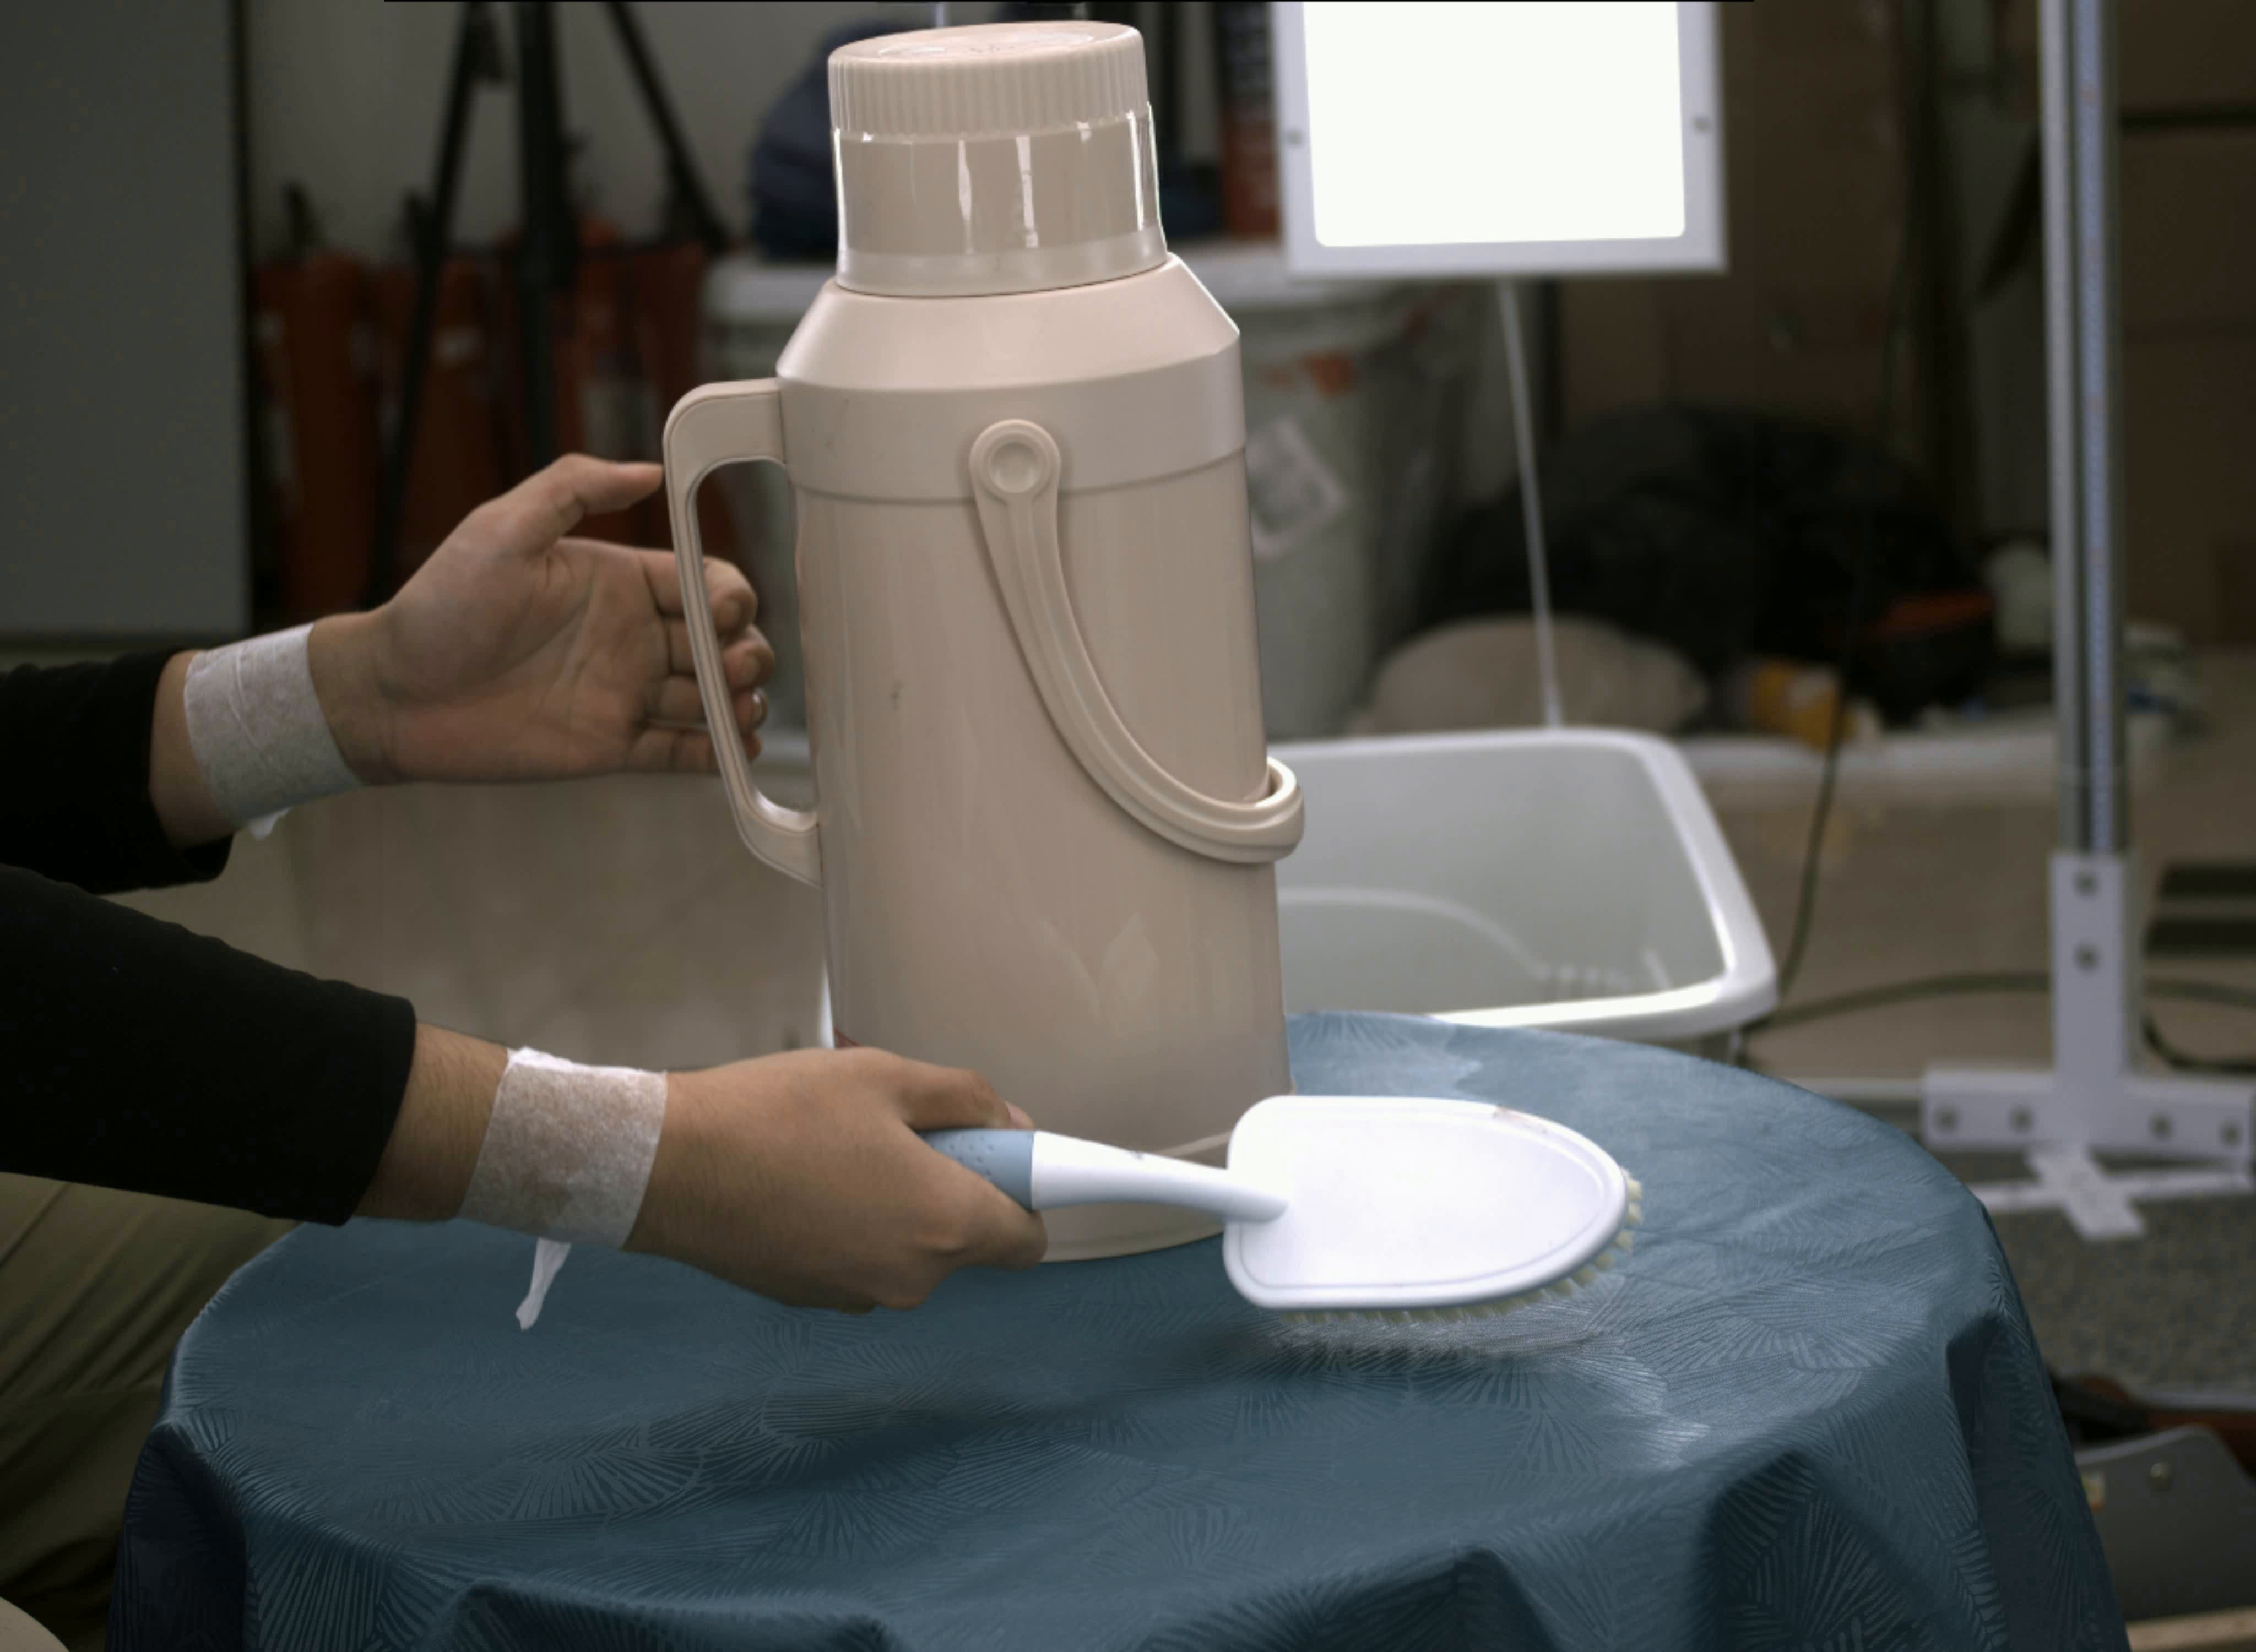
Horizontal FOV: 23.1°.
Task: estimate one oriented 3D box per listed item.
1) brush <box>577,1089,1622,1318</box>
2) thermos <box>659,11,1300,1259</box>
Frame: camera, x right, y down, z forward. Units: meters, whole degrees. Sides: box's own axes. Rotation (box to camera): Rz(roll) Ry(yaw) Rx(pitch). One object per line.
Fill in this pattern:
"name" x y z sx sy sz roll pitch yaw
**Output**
"brush" -0.008 0.110 1.723 0.326 0.085 0.082 2 38 6
"thermos" -0.049 -0.065 1.862 0.206 0.408 0.175 -4 15 0
